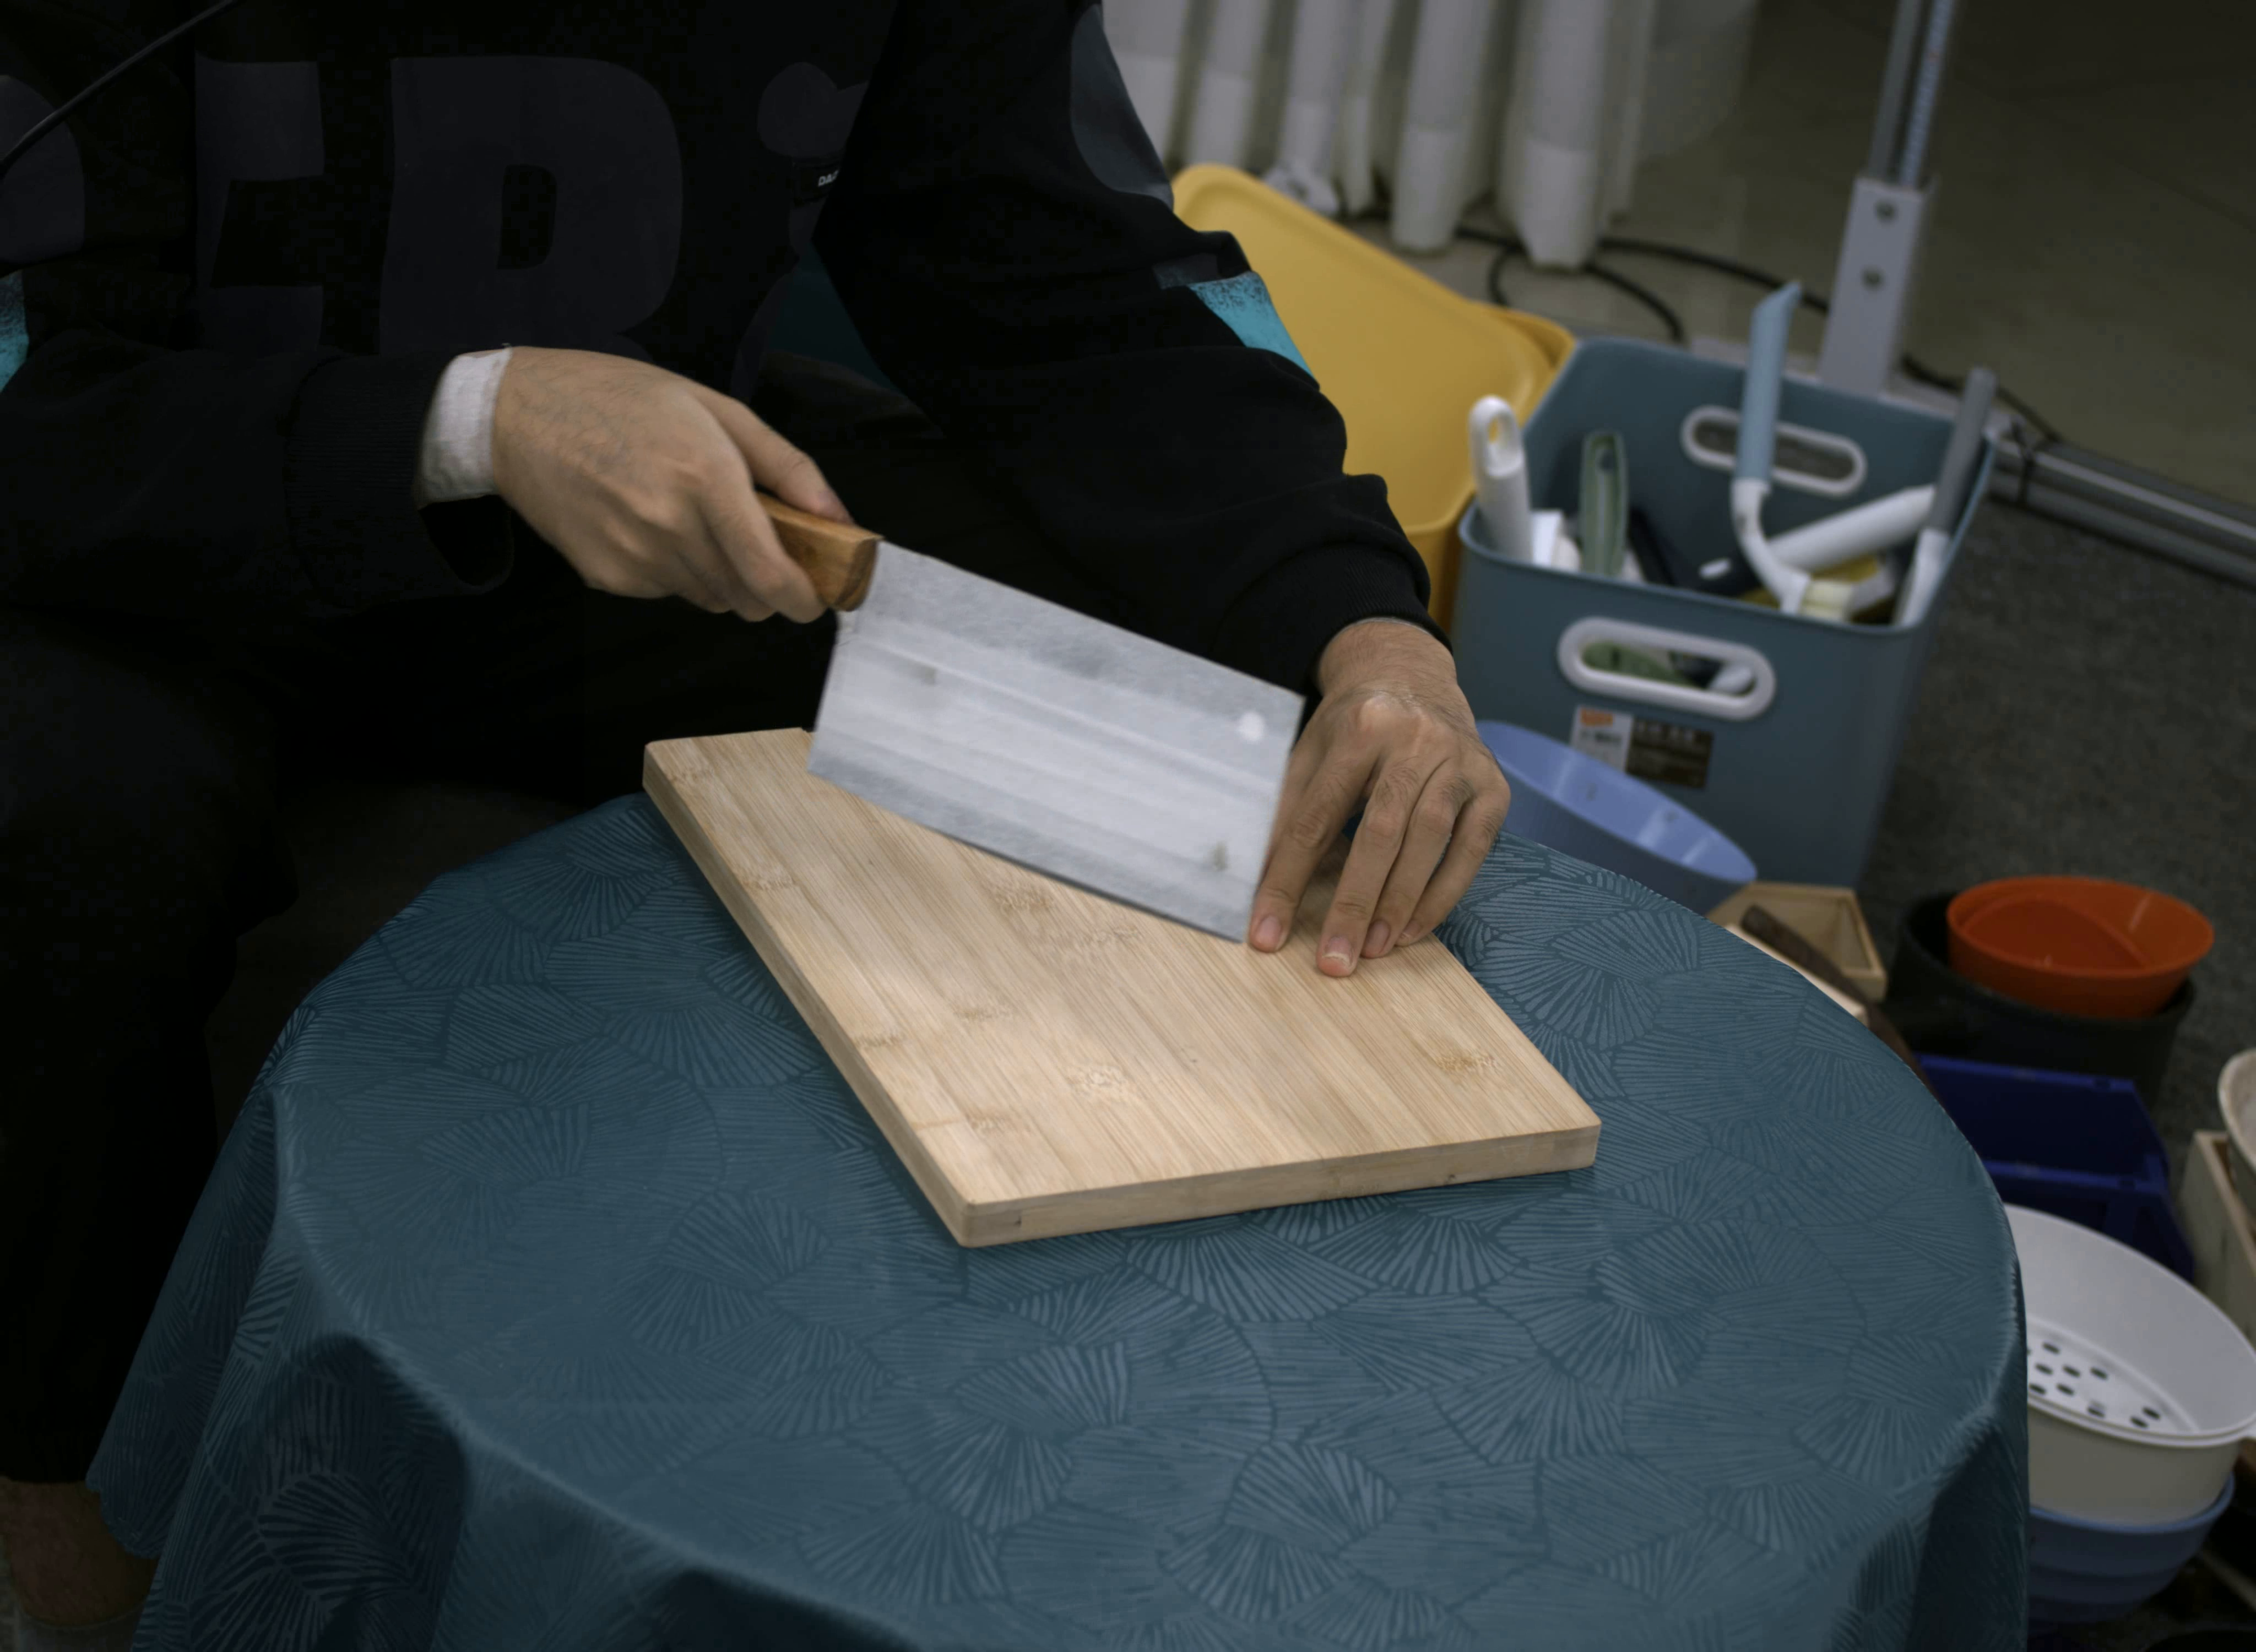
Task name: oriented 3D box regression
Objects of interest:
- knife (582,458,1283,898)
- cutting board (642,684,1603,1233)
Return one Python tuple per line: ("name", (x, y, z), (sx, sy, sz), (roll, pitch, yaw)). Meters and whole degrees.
("knife", (-0.077, -0.050, 1.860), (0.307, 0.093, 0.021), (21, 15, 31))
("cutting board", (-0.011, 0.042, 1.942), (0.249, 0.023, 0.352), (-6, 30, -23))
